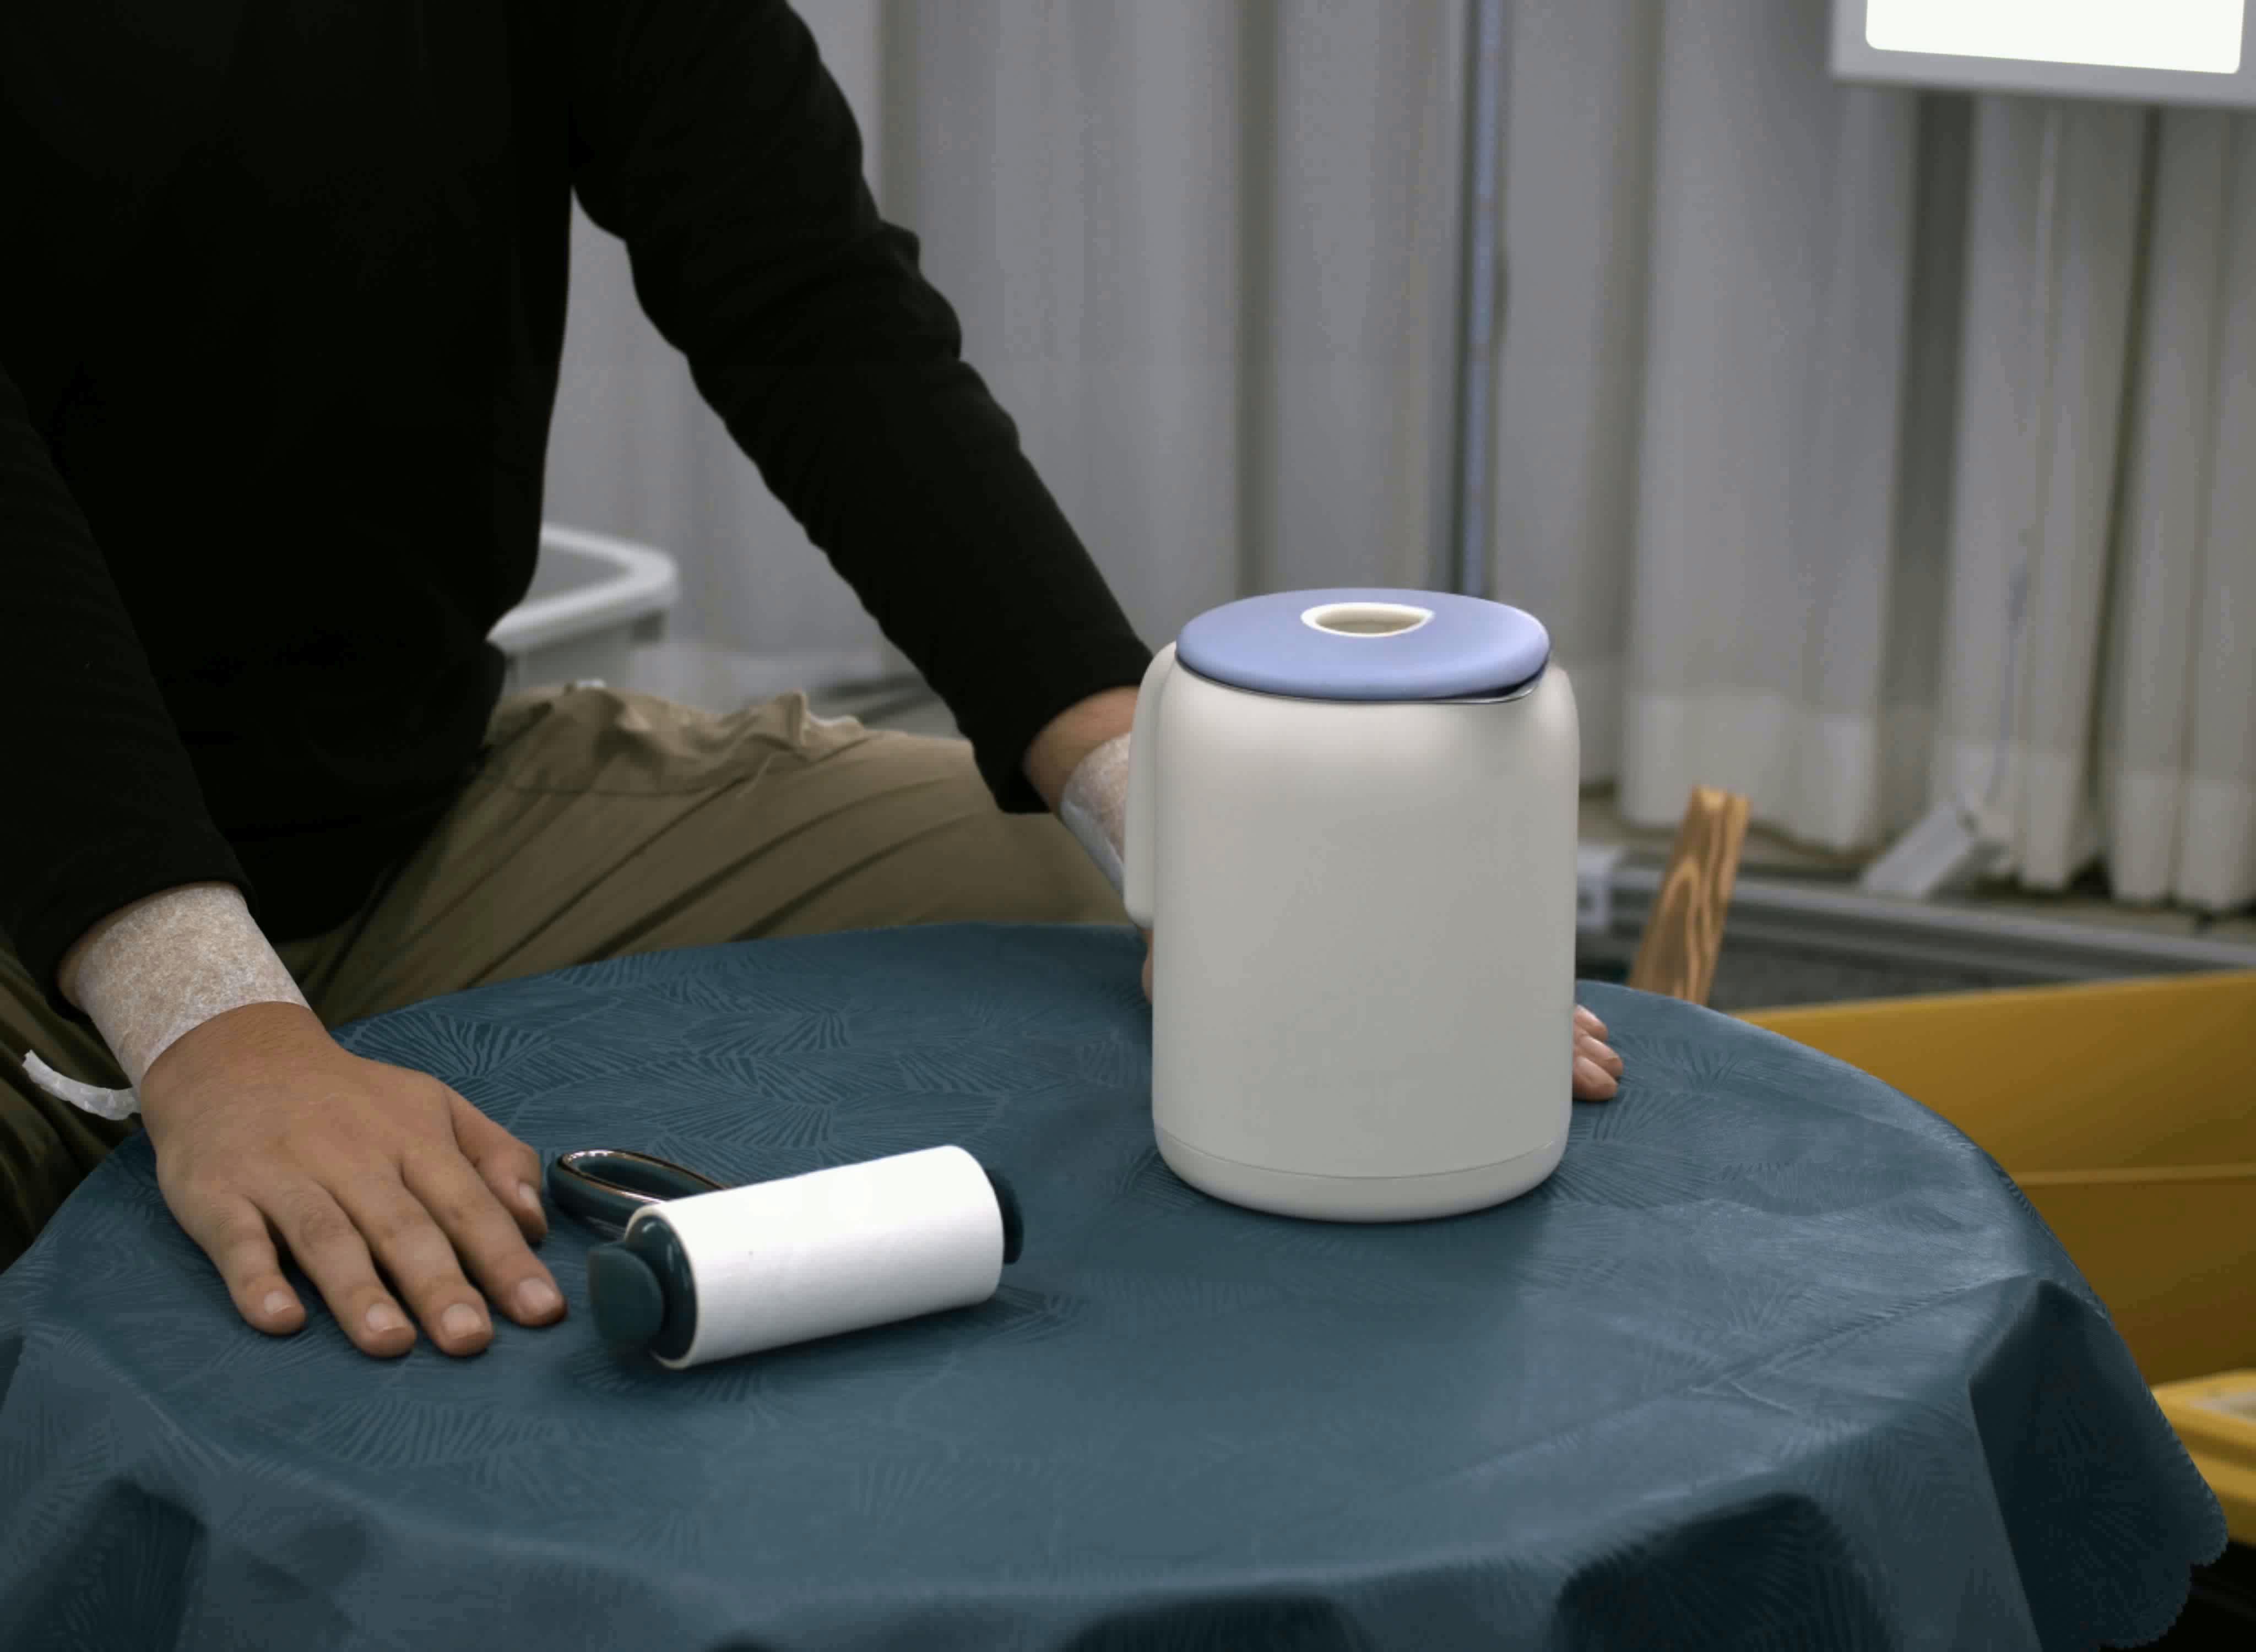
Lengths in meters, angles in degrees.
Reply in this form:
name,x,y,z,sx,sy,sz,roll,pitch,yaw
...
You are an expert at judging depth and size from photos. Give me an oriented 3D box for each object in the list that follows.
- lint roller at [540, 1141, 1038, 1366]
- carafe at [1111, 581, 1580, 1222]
name,x,y,z,sx,sy,sz,roll,pitch,yaw
lint roller,-0.126,0.110,1.549,0.135,0.048,0.178,-10,15,-32
carafe,0.058,0.017,1.643,0.133,0.184,0.188,-11,17,-37
